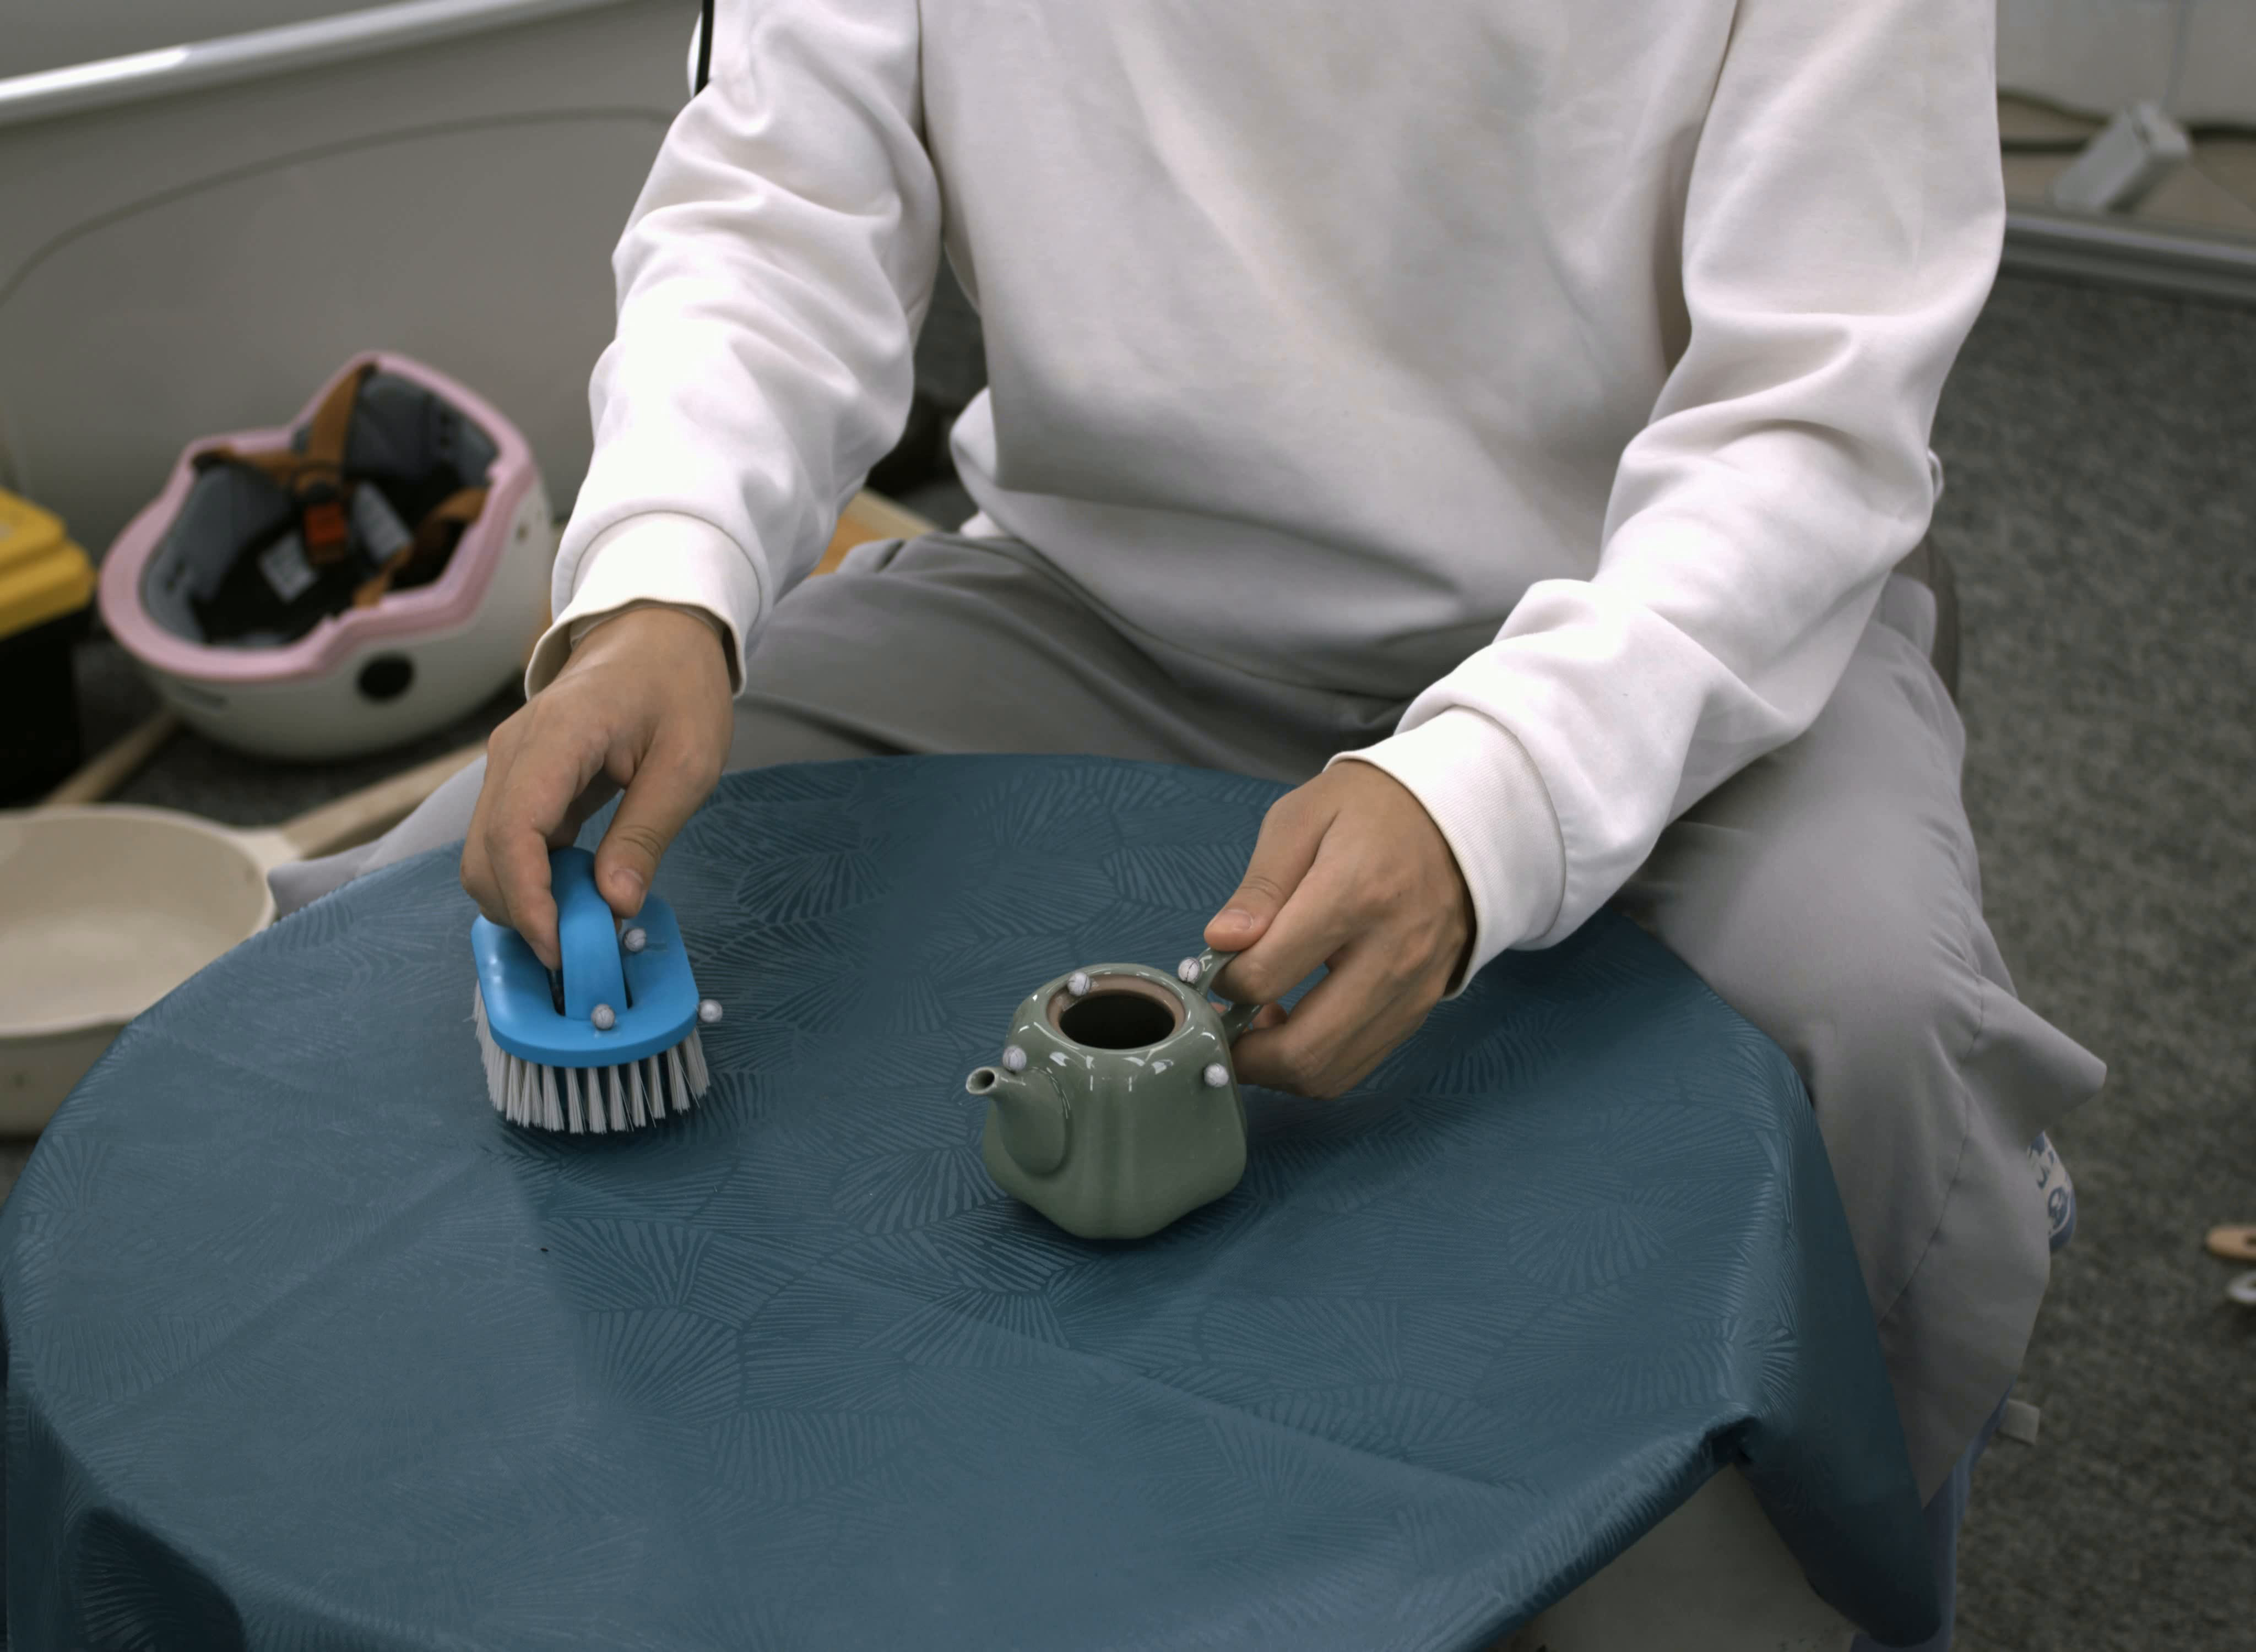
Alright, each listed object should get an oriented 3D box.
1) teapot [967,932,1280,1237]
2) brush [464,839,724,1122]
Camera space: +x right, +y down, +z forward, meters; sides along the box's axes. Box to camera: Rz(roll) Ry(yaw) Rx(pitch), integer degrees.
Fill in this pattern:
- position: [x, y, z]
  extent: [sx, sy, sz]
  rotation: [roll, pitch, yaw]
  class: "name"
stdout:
- position: [-0.002, 0.087, 1.847]
  extent: [0.134, 0.074, 0.080]
  rotation: [-25, 40, -36]
  class: "teapot"
- position: [-0.188, 0.046, 1.945]
  extent: [0.084, 0.063, 0.143]
  rotation: [-9, 23, -6]
  class: "brush"
